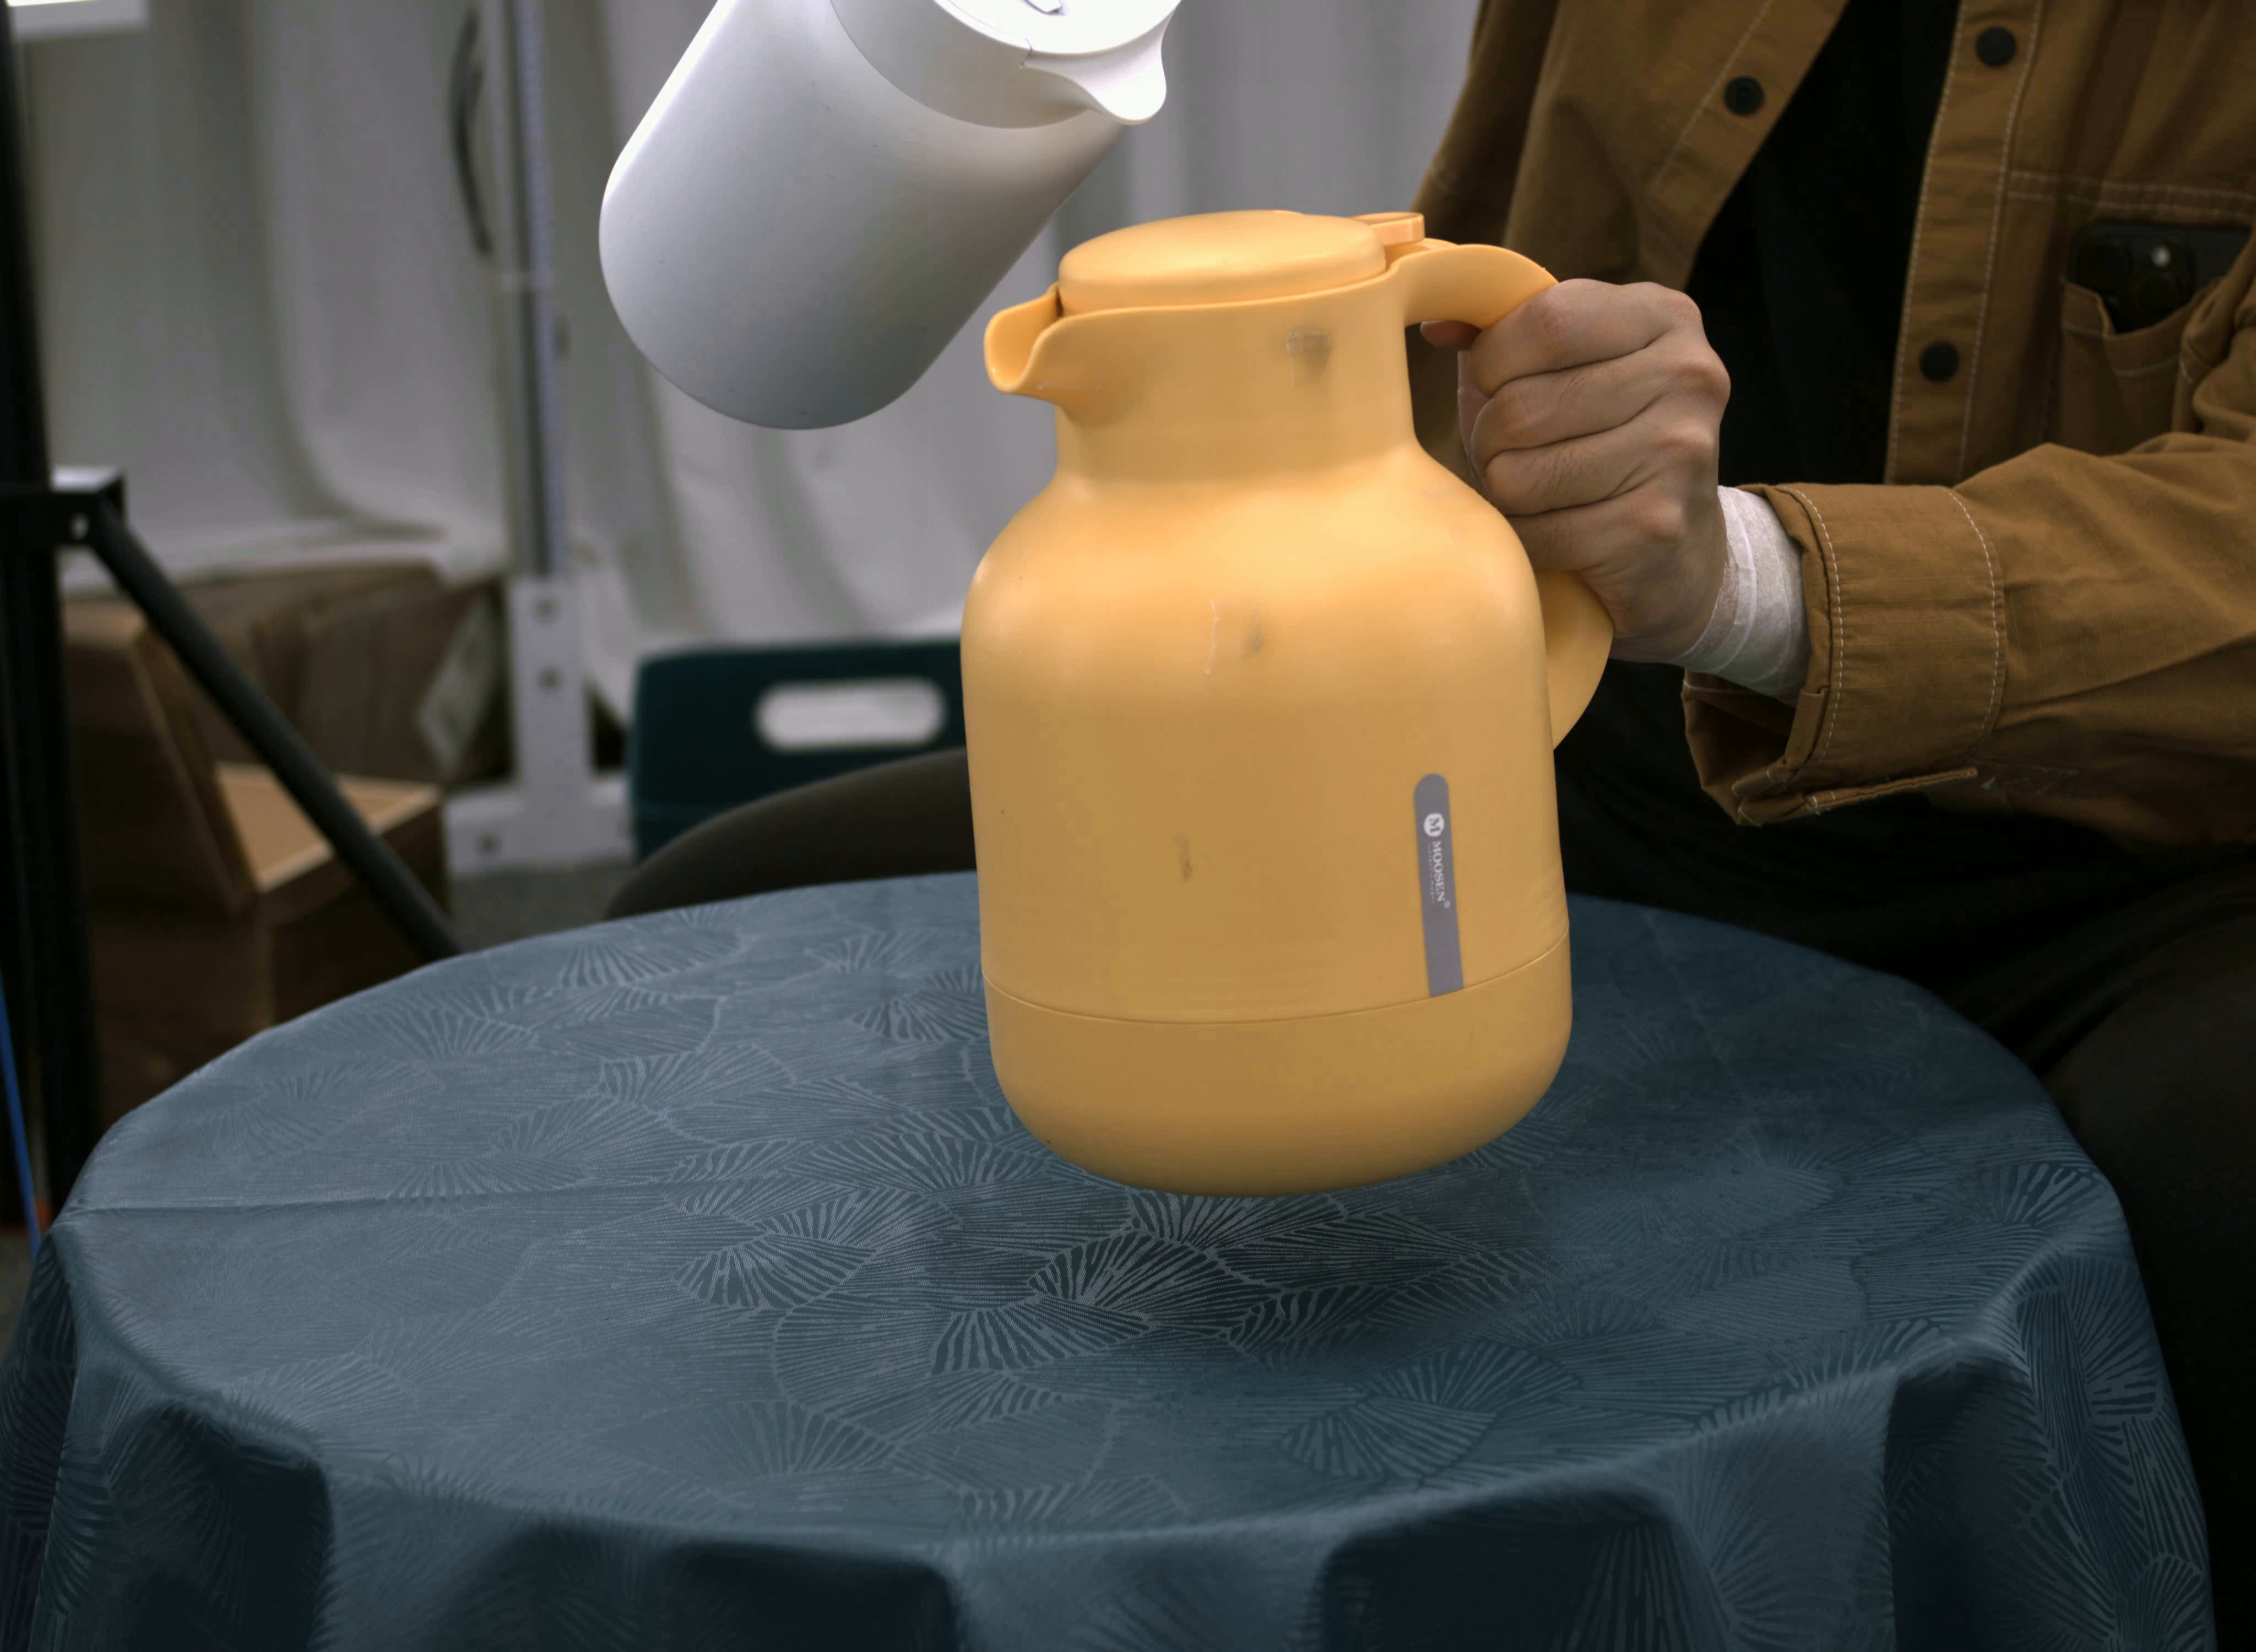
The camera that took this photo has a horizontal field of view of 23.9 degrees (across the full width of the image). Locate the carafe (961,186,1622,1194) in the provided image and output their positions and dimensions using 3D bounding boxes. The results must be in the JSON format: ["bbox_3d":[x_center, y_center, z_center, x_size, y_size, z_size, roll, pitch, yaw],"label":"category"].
[{"bbox_3d":[0.053,-0.044,1.458,0.198,0.260,0.167,-14,19,-28],"label":"carafe"}]

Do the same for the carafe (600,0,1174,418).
[{"bbox_3d":[-0.076,-0.234,1.568,0.122,0.174,0.271,-24,-8,-23],"label":"carafe"}]
